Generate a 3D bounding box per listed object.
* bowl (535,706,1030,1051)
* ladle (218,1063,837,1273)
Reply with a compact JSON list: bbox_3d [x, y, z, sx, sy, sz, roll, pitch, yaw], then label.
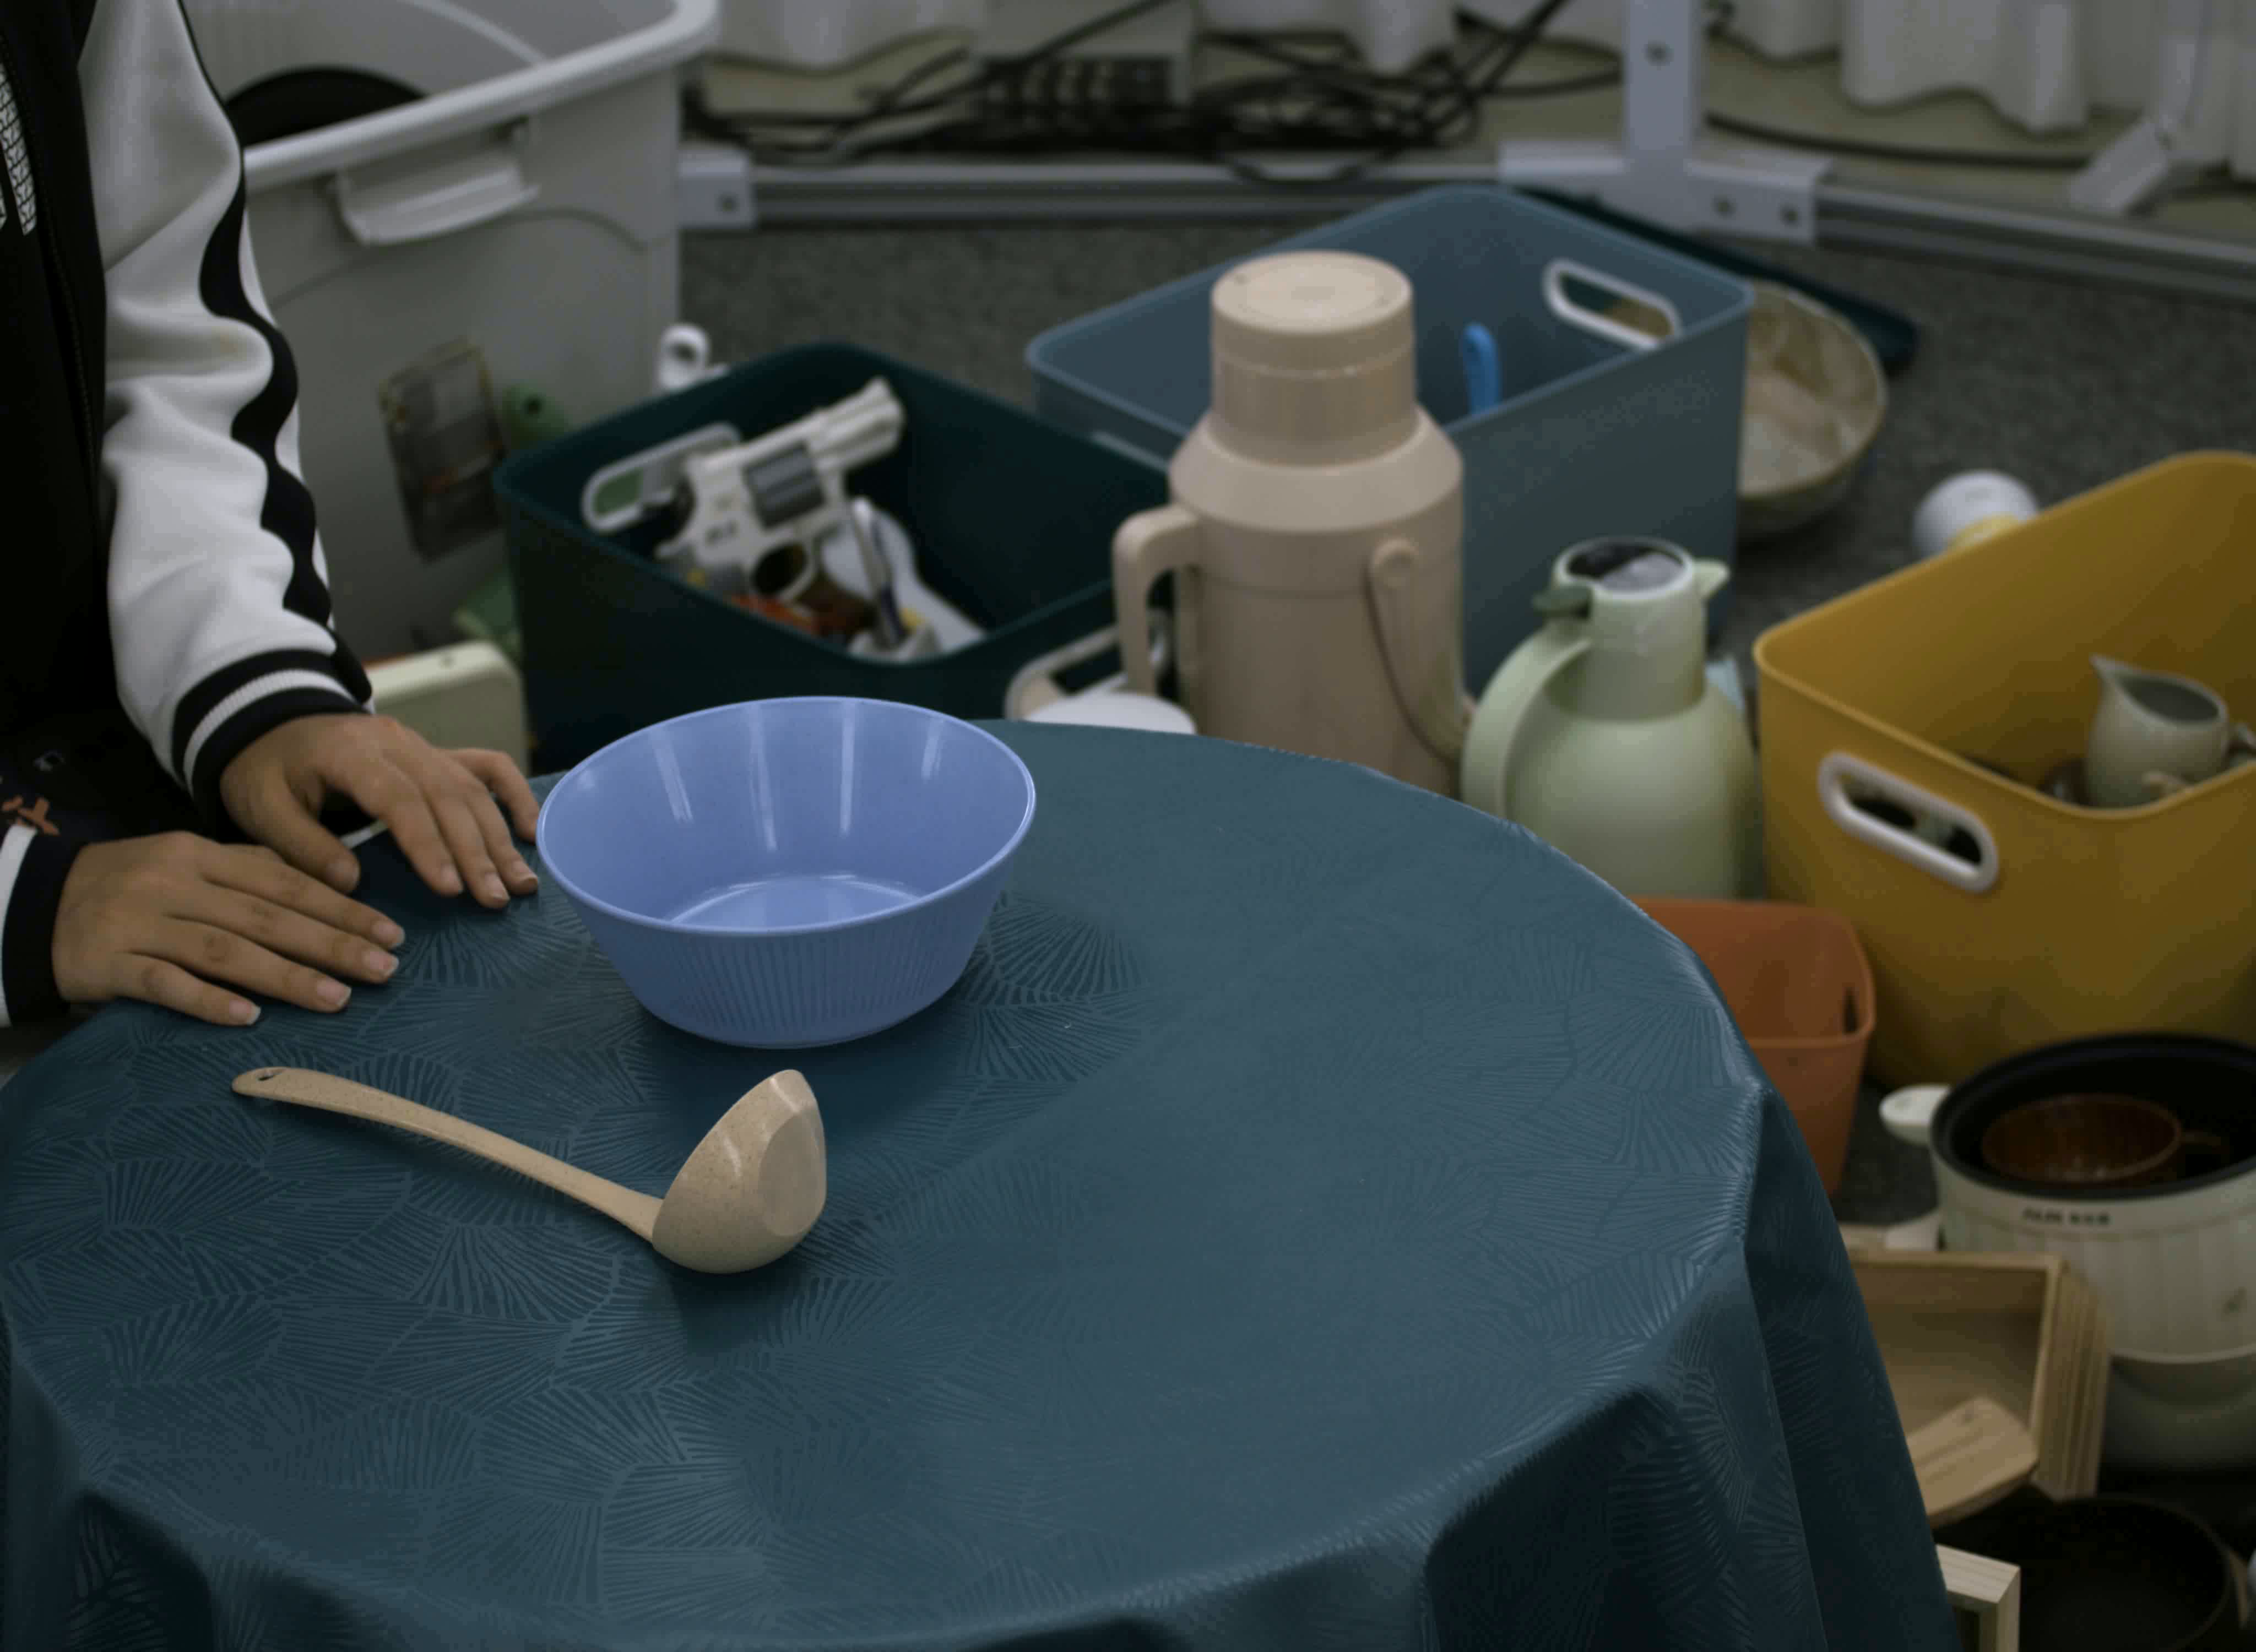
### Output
[{"bbox_3d":[-0.120,0.024,1.987,0.175,0.069,0.179,-1,26,1],"label":"bowl"},{"bbox_3d":[-0.209,0.089,1.867,0.253,0.072,0.073,14,31,30],"label":"ladle"}]
